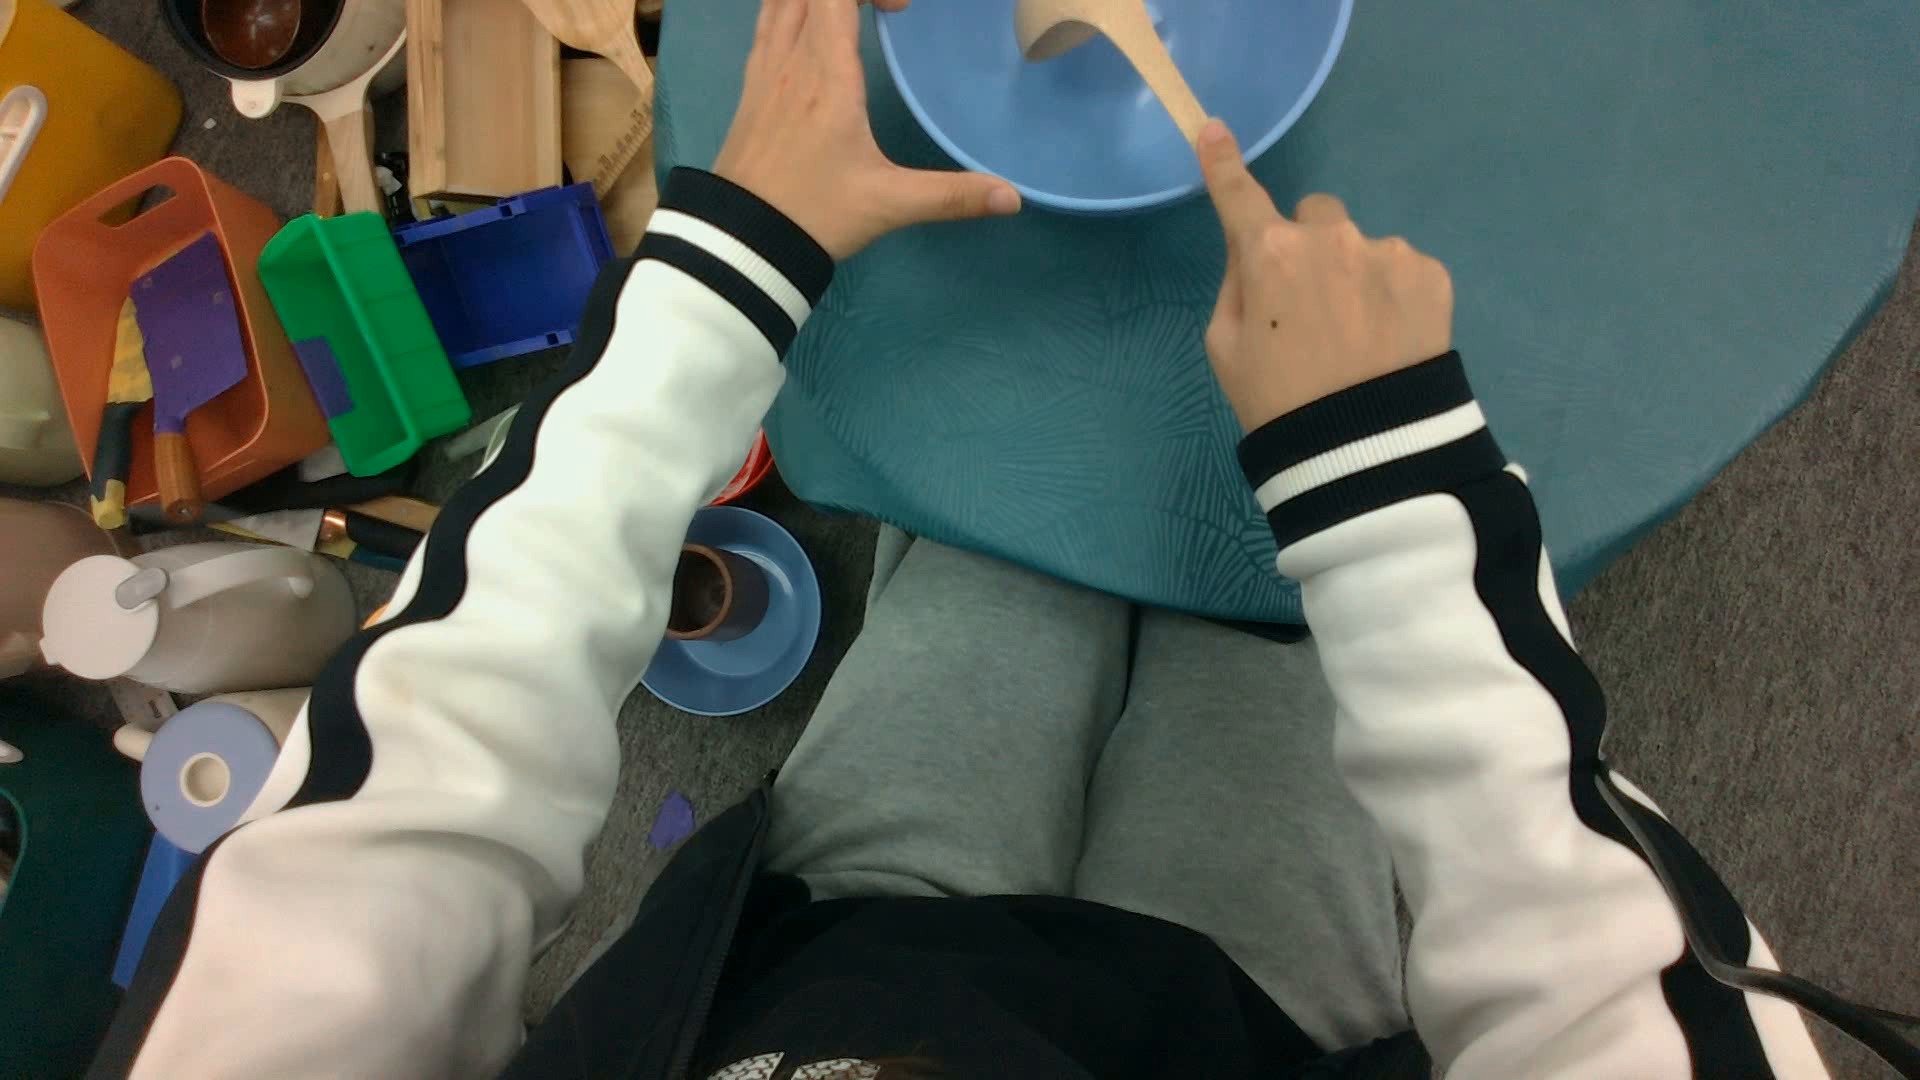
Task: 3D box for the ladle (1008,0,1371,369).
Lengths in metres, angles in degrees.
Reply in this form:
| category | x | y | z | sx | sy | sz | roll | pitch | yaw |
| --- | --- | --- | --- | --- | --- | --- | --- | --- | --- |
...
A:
| category | x | y | z | sx | sy | sz | roll | pitch | yaw |
| --- | --- | --- | --- | --- | --- | --- | --- | --- | --- |
| ladle | 0.097 | -0.155 | 0.571 | 0.072 | 0.072 | 0.255 | -27 | 67 | 1 |

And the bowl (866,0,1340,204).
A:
| category | x | y | z | sx | sy | sz | roll | pitch | yaw |
| --- | --- | --- | --- | --- | --- | --- | --- | --- | --- |
| bowl | 0.062 | -0.232 | 0.608 | 0.196 | 0.095 | 0.196 | -1 | 84 | 6 |
